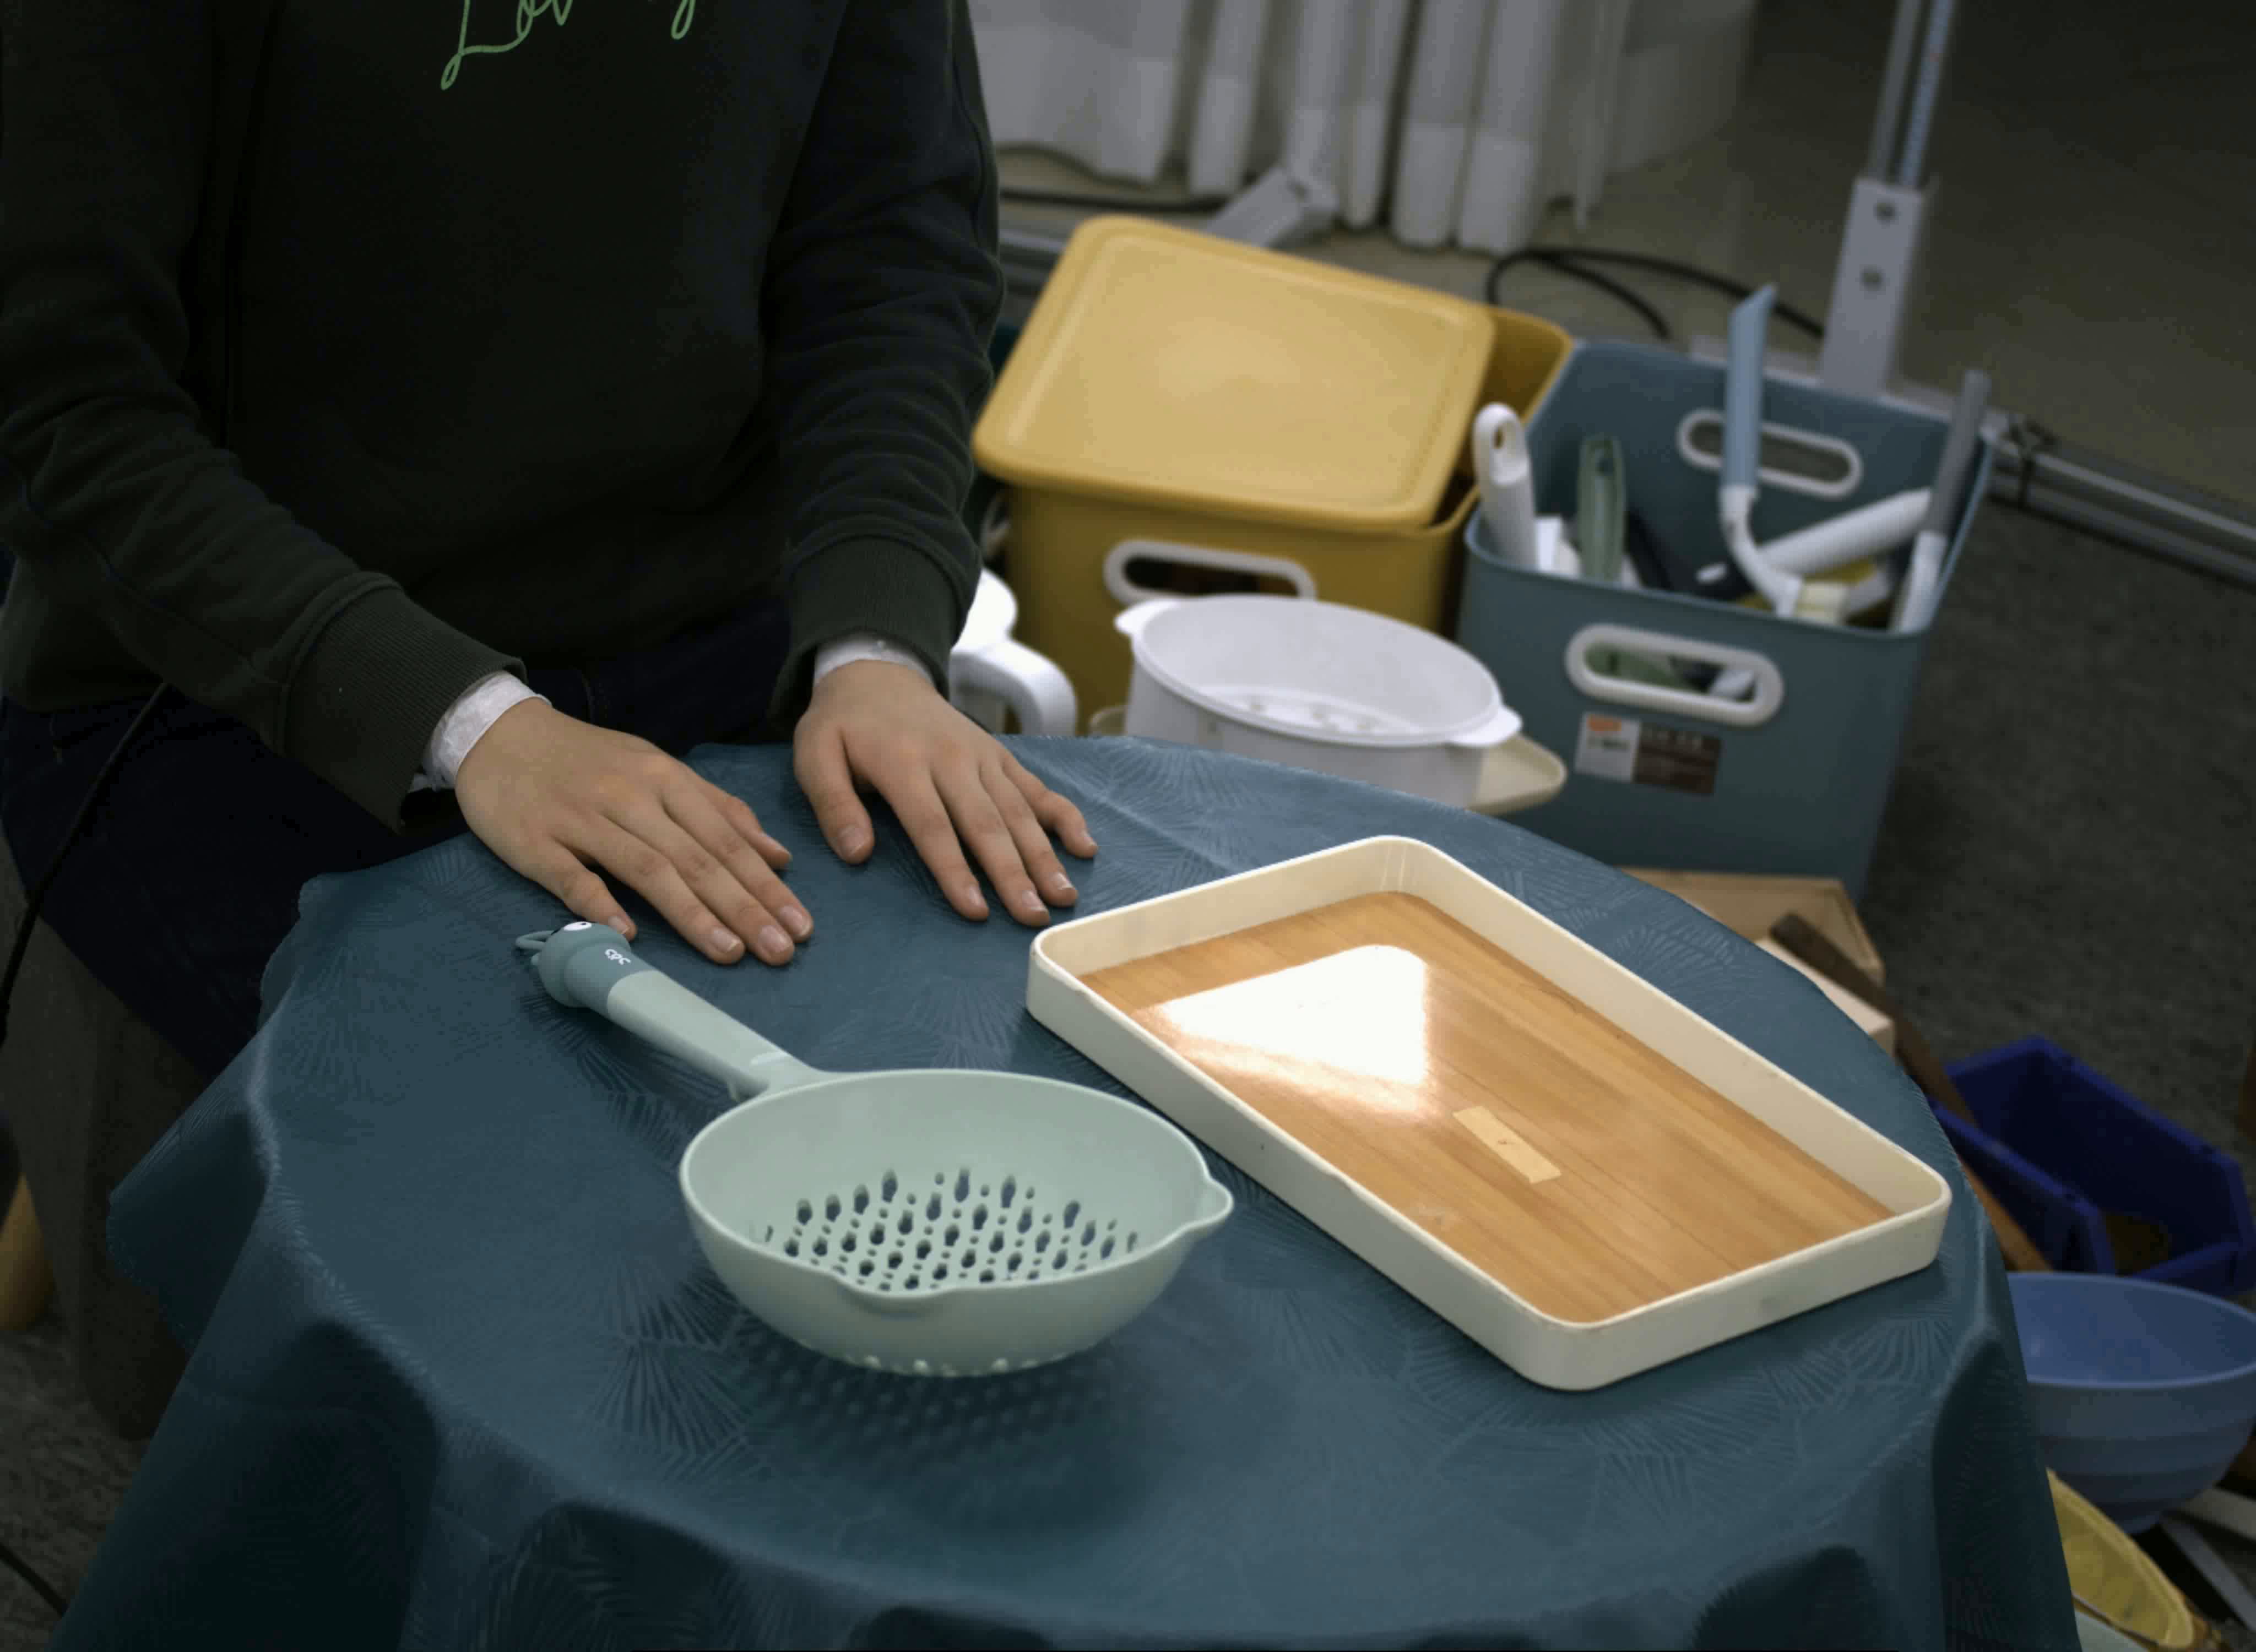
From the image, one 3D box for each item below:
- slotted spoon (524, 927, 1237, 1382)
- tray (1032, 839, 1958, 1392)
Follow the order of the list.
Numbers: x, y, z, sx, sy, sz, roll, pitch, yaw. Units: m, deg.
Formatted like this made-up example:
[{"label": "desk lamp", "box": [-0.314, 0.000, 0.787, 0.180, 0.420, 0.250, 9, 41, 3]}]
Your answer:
[{"label": "slotted spoon", "box": [-0.112, 0.093, 1.766, 0.168, 0.075, 0.362, -11, 31, -32]}, {"label": "tray", "box": [0.123, 0.095, 1.856, 0.190, 0.027, 0.303, -14, 34, -35]}]
